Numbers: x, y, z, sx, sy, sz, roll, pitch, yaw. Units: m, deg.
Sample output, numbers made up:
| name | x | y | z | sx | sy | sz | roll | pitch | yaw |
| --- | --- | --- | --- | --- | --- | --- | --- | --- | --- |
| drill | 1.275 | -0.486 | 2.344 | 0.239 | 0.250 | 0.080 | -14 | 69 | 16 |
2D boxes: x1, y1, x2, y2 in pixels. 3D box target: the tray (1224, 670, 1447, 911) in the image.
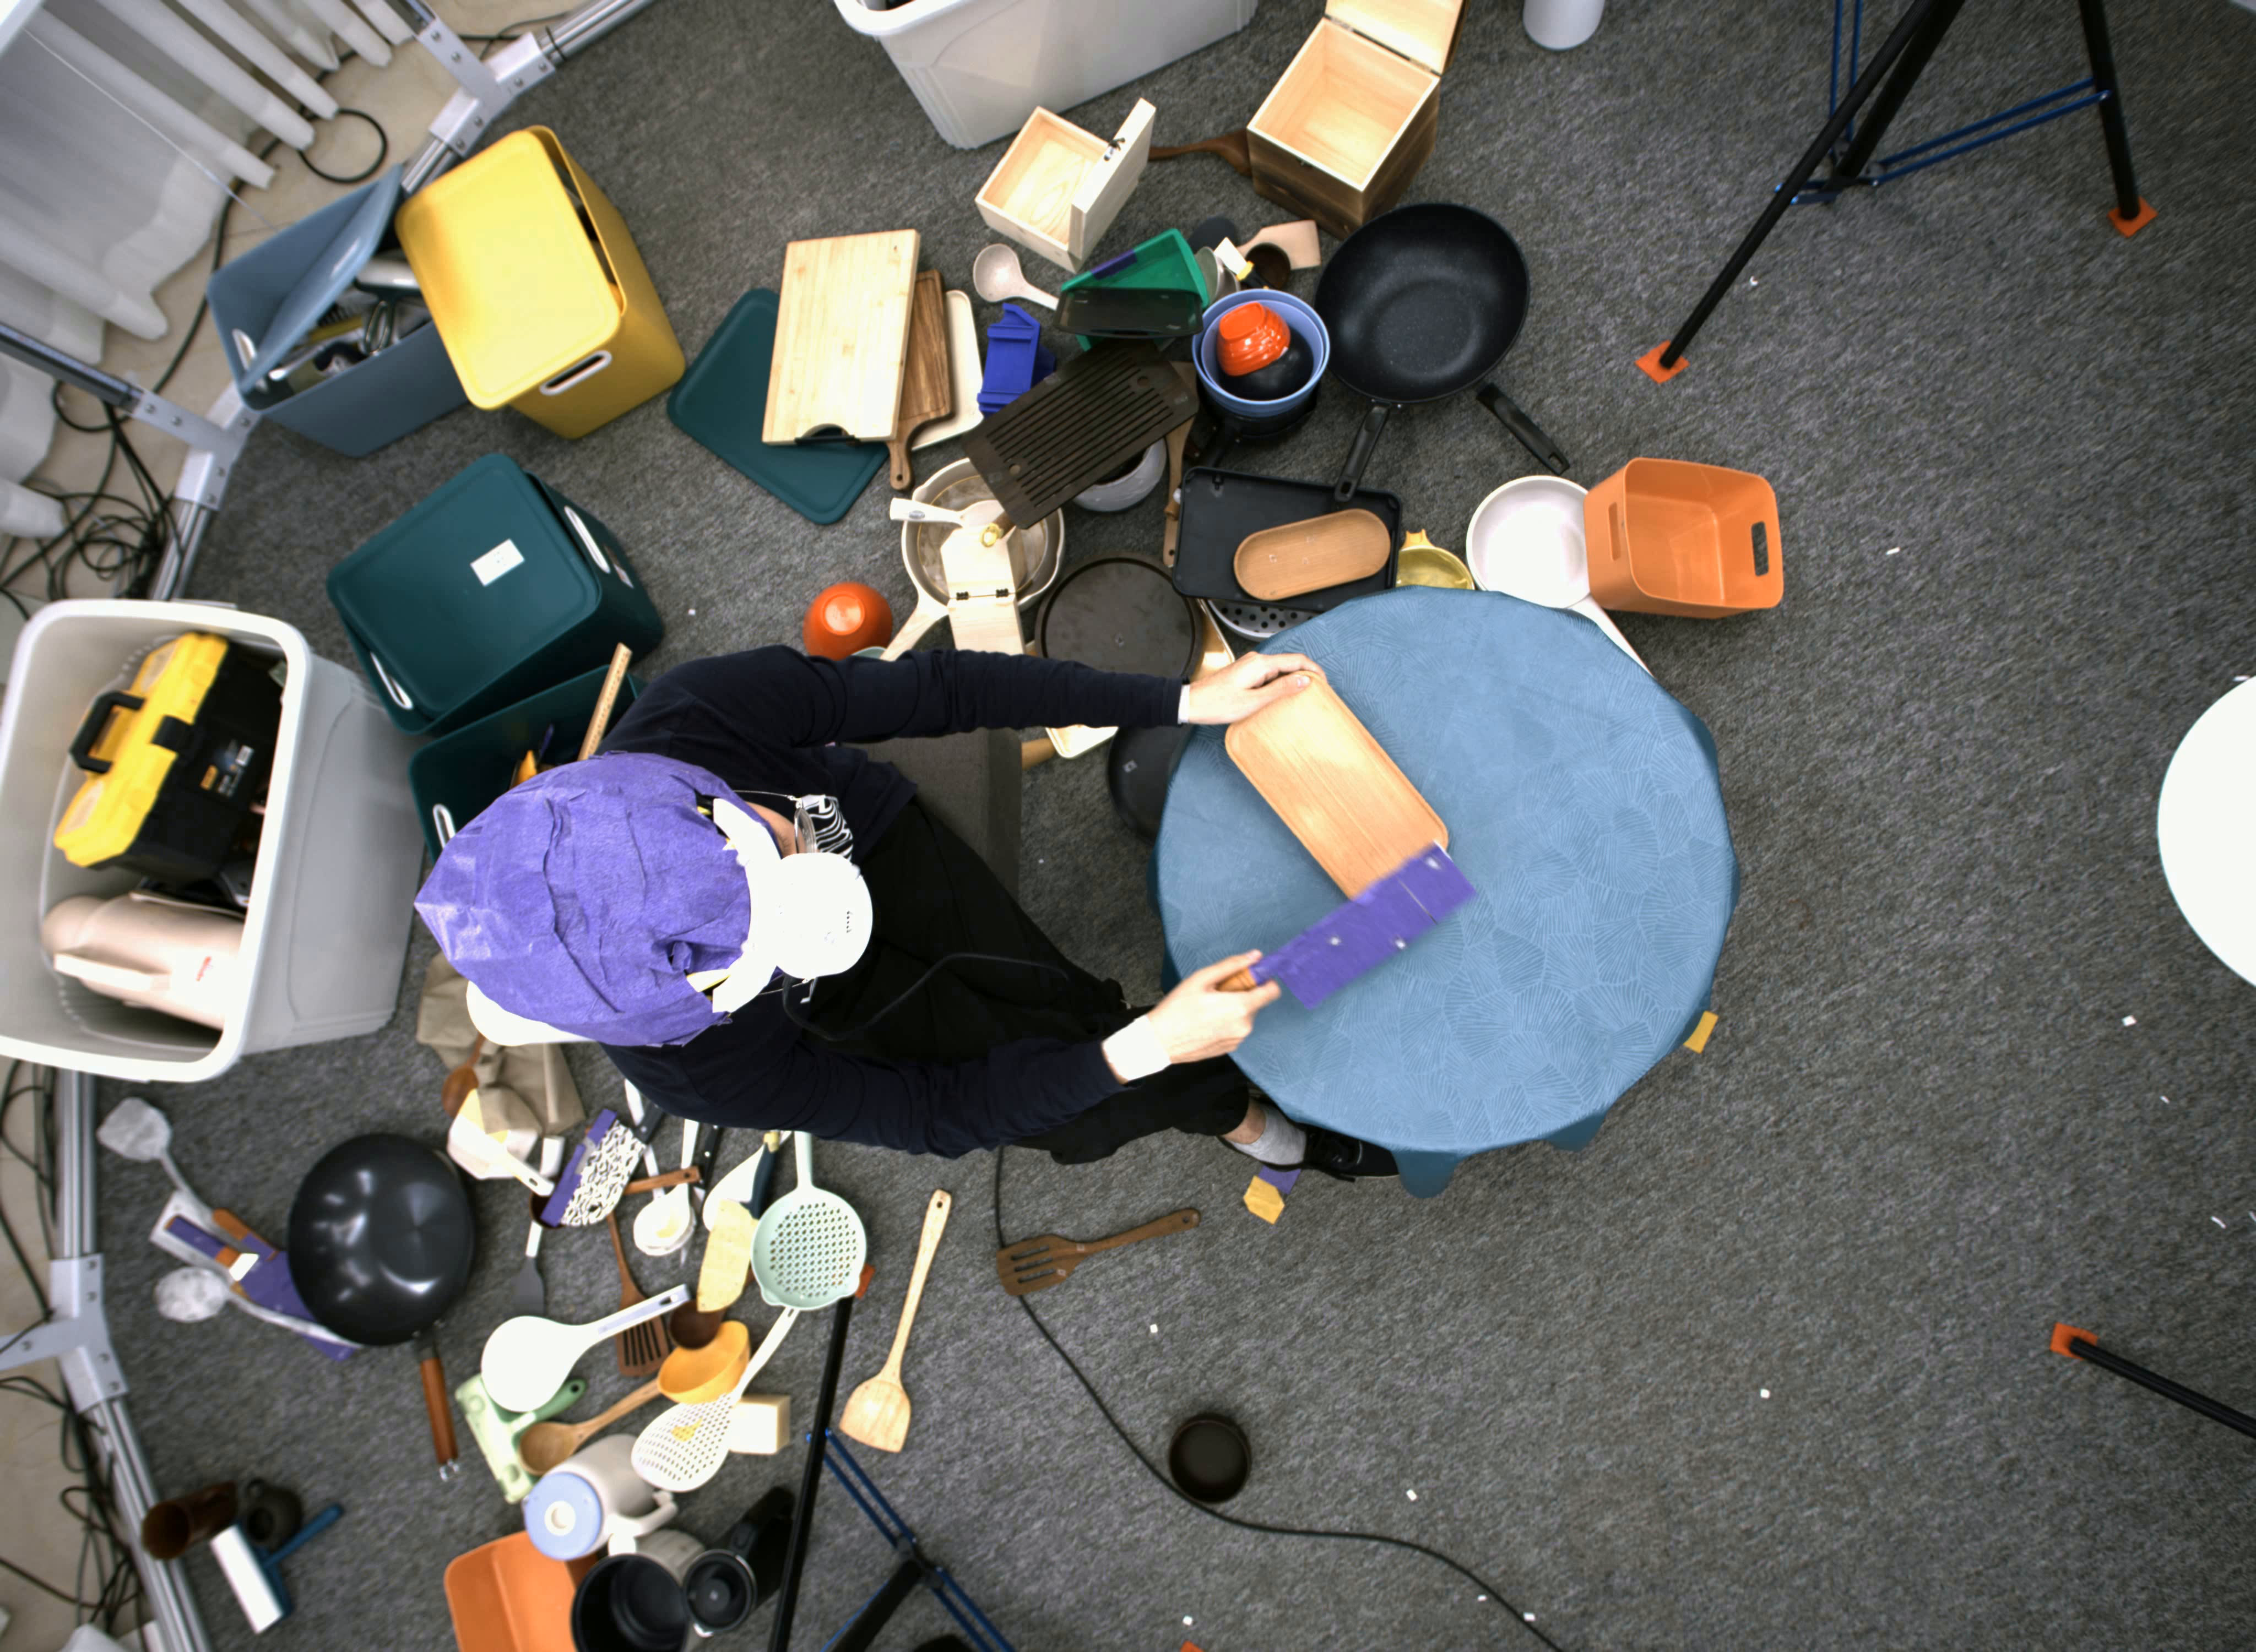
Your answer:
| name | x | y | z | sx | sy | sz | roll | pitch | yaw |
| --- | --- | --- | --- | --- | --- | --- | --- | --- | --- |
| tray | 0.217 | -0.038 | 1.441 | 0.131 | 0.022 | 0.251 | -38 | 95 | 8 |

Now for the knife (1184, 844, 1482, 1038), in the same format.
| name | x | y | z | sx | sy | sz | roll | pitch | yaw |
| --- | --- | --- | --- | --- | --- | --- | --- | --- | --- |
| knife | 0.207 | 0.135 | 1.376 | 0.318 | 0.031 | 0.105 | -34 | 123 | 14 |
